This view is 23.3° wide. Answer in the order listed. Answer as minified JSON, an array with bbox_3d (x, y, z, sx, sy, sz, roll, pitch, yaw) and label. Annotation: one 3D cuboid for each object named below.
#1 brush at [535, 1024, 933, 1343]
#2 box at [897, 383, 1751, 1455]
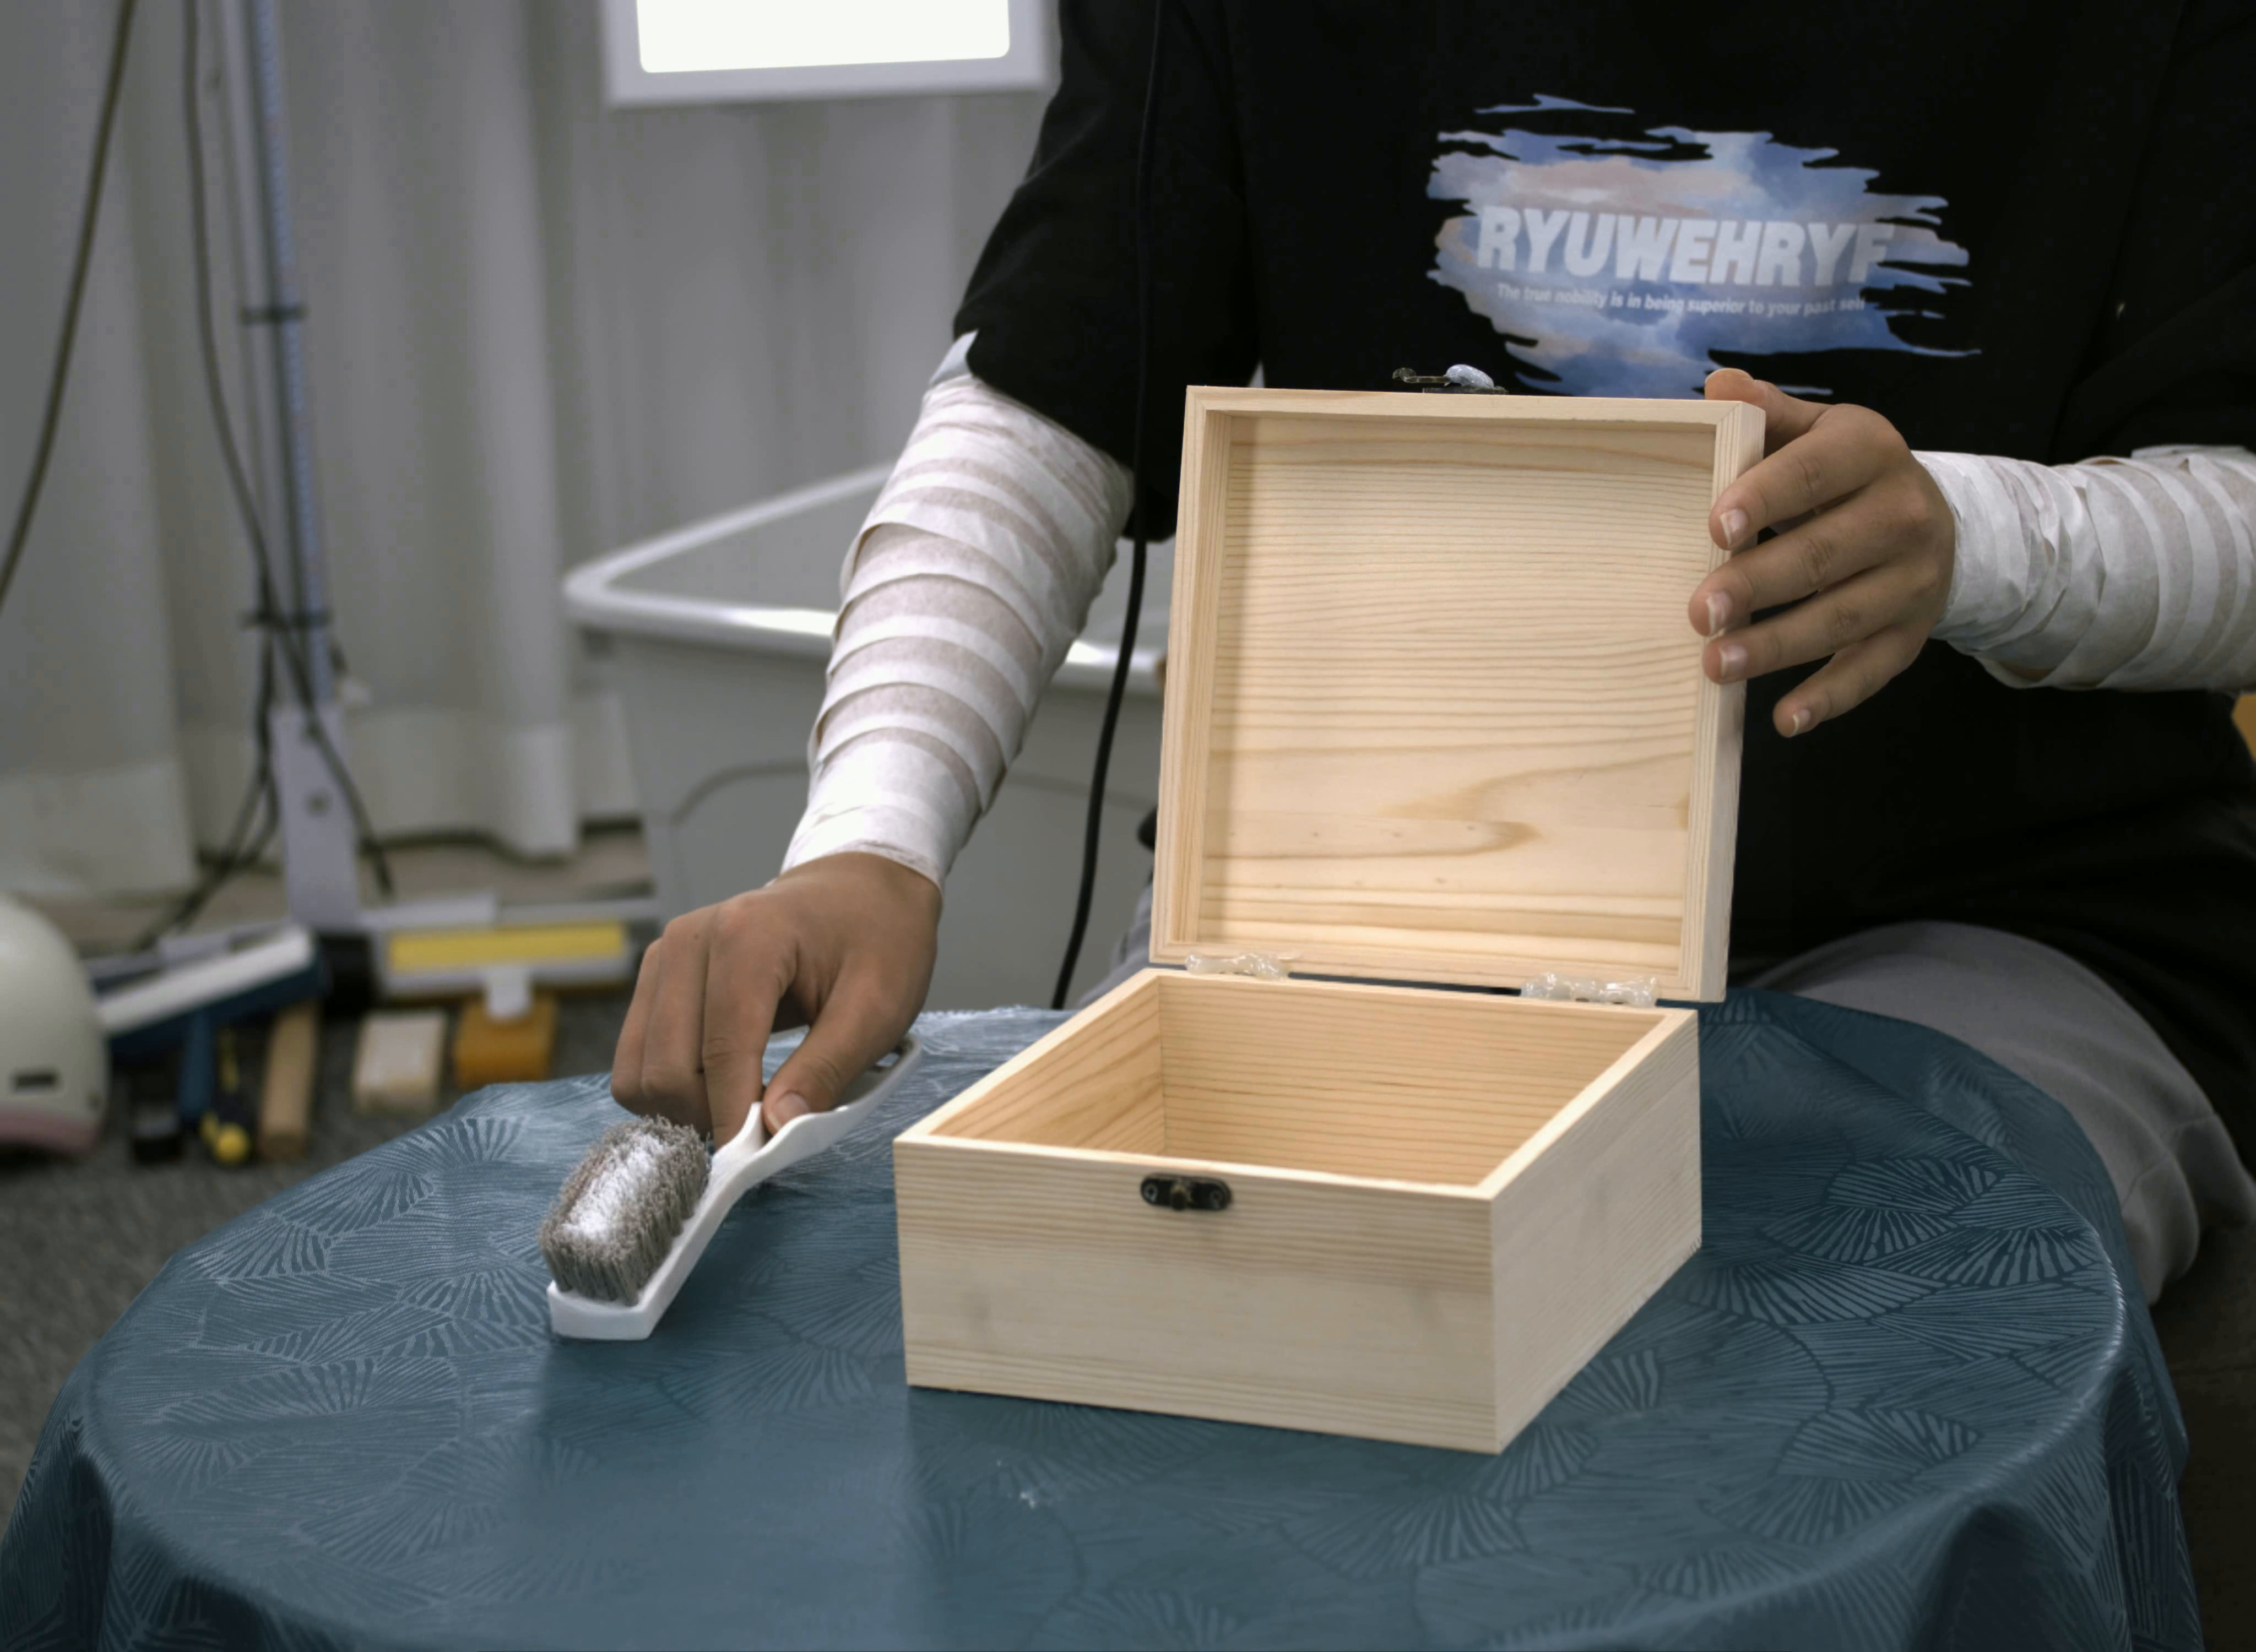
[{"bbox_3d":[-0.116,0.091,1.692,0.034,0.050,0.245,9,23,20],"label":"brush"},{"bbox_3d":[0.062,0.015,1.597,0.182,0.252,0.266,2,14,23],"label":"box"}]
